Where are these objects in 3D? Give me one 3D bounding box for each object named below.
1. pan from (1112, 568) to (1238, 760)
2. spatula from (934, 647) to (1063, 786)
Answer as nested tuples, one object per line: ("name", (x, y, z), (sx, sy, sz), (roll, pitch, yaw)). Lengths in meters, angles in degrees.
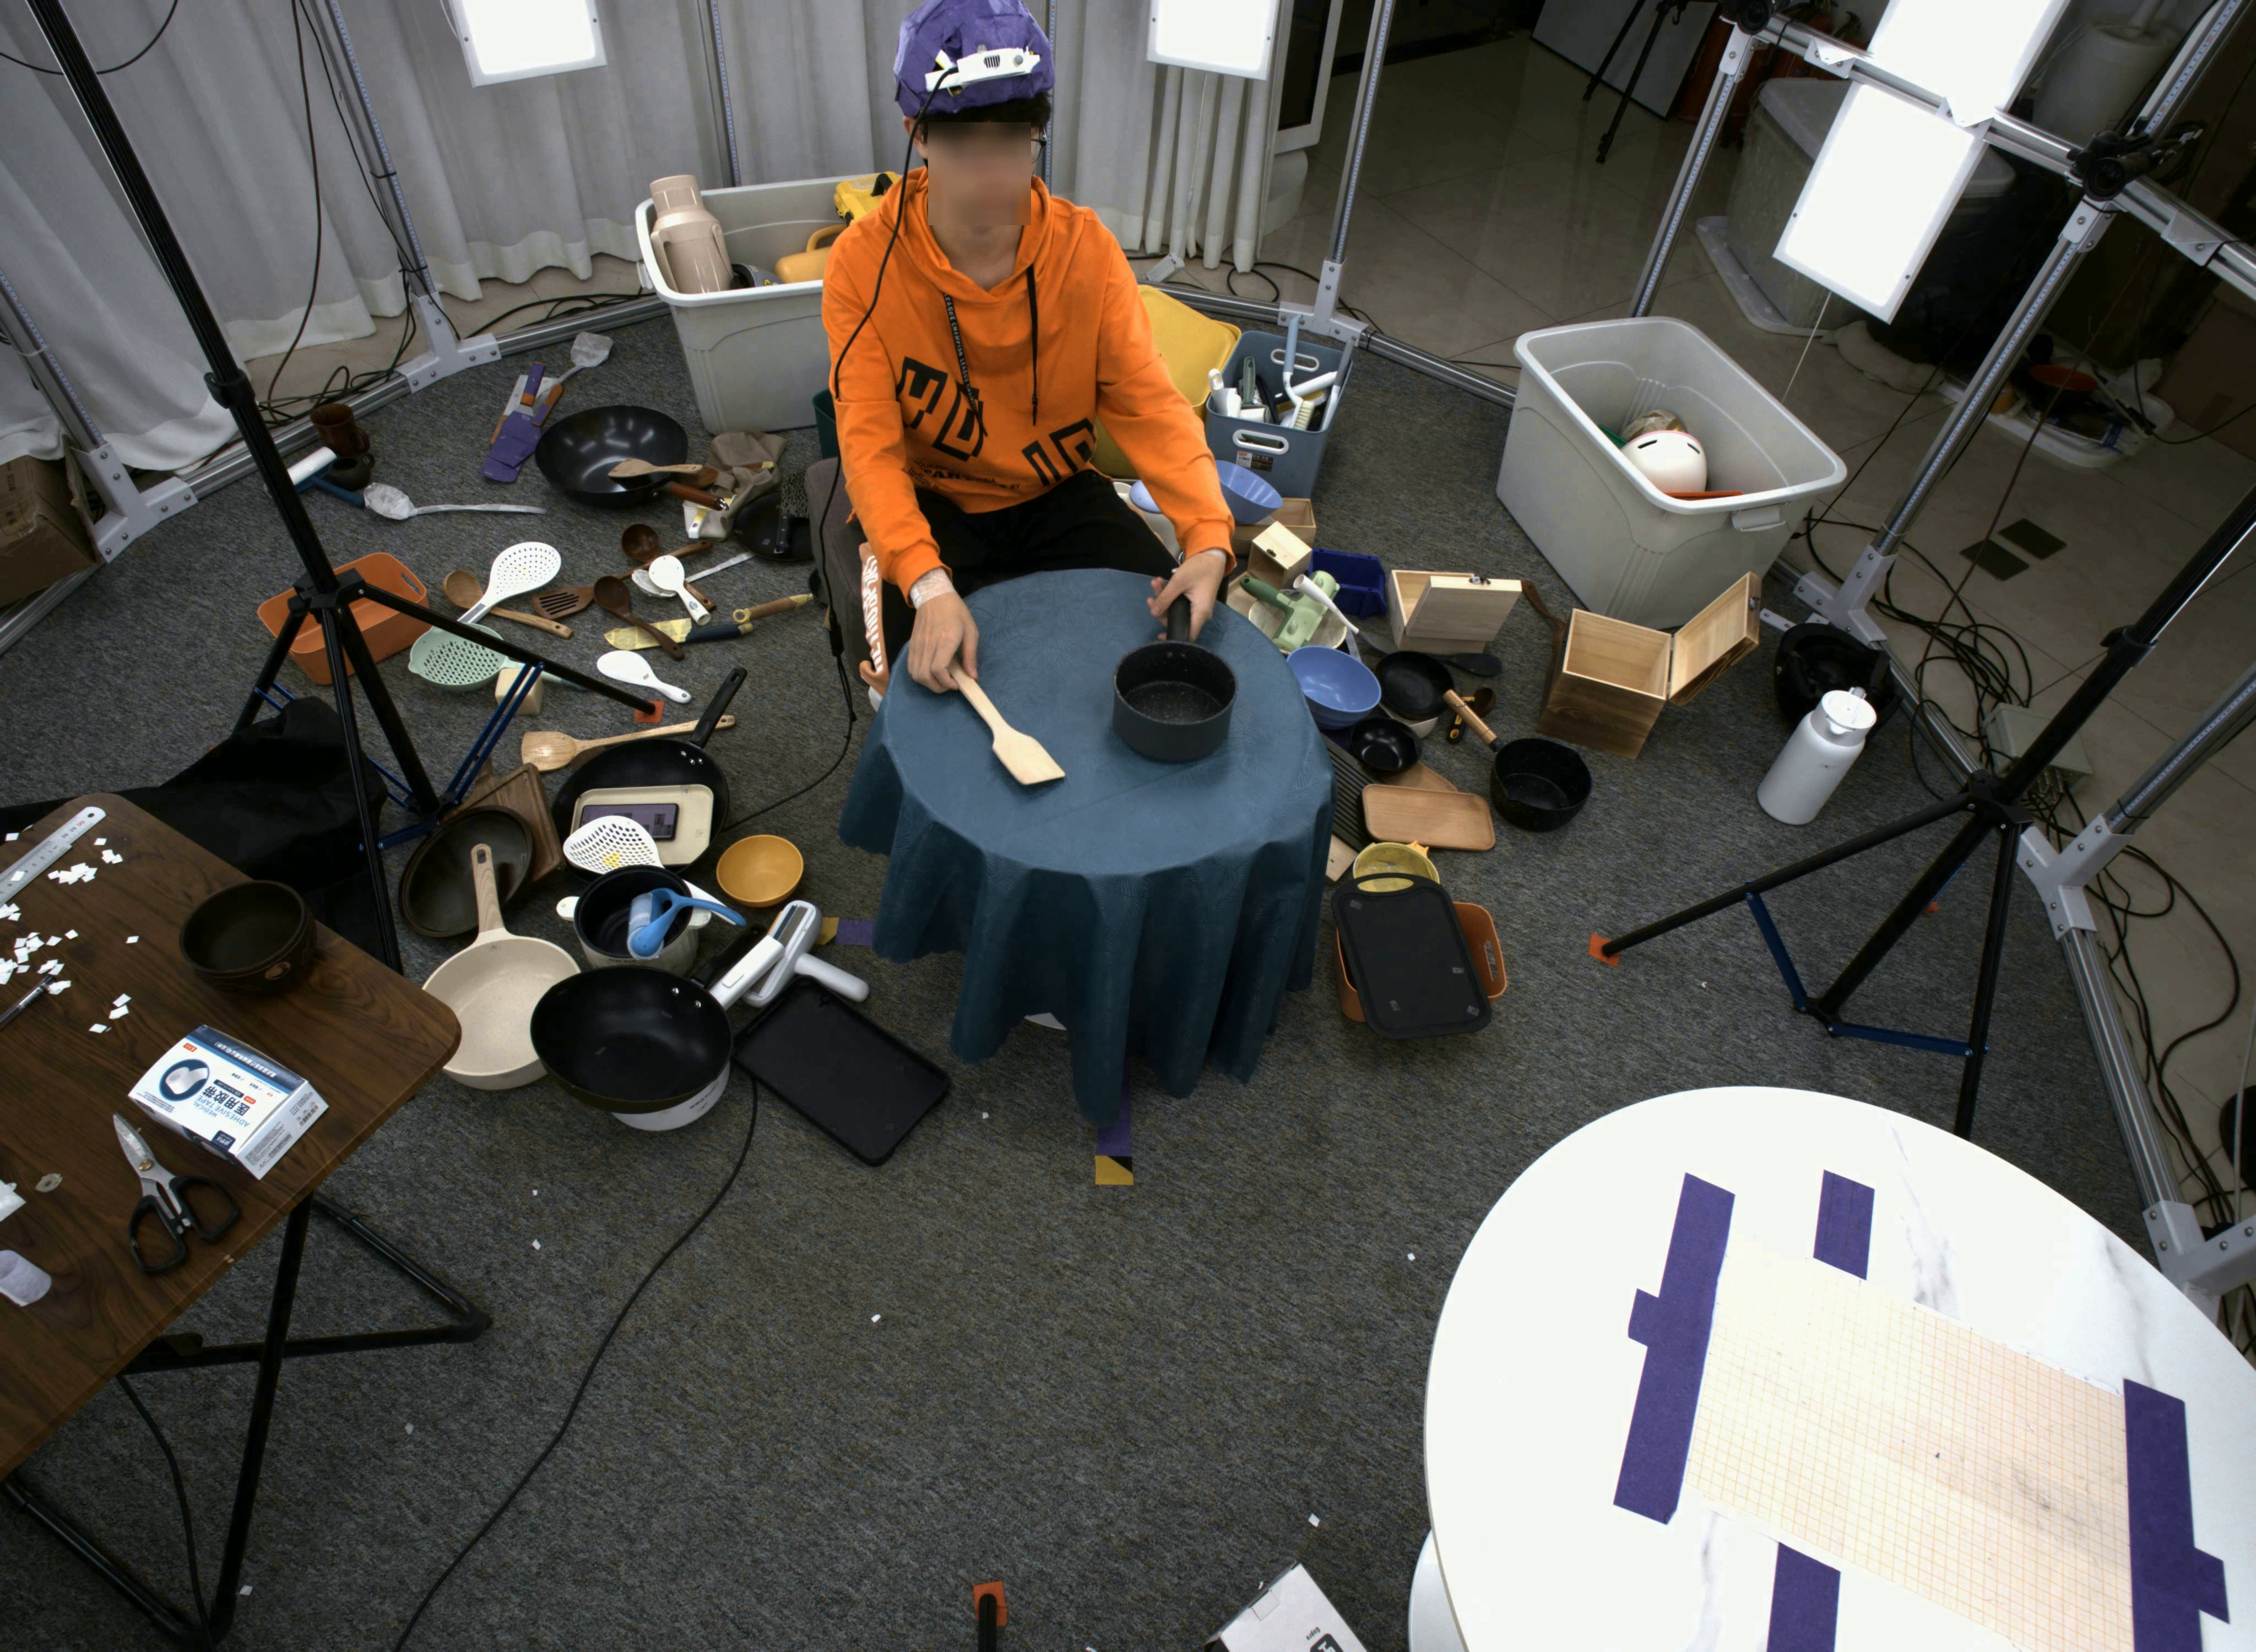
("pan", (0.072, -0.234, 1.823), (0.172, 0.084, 0.336), (8, 48, 2))
("spatula", (-0.192, -0.156, 1.775), (0.072, 0.010, 0.299), (-17, 52, -30))
